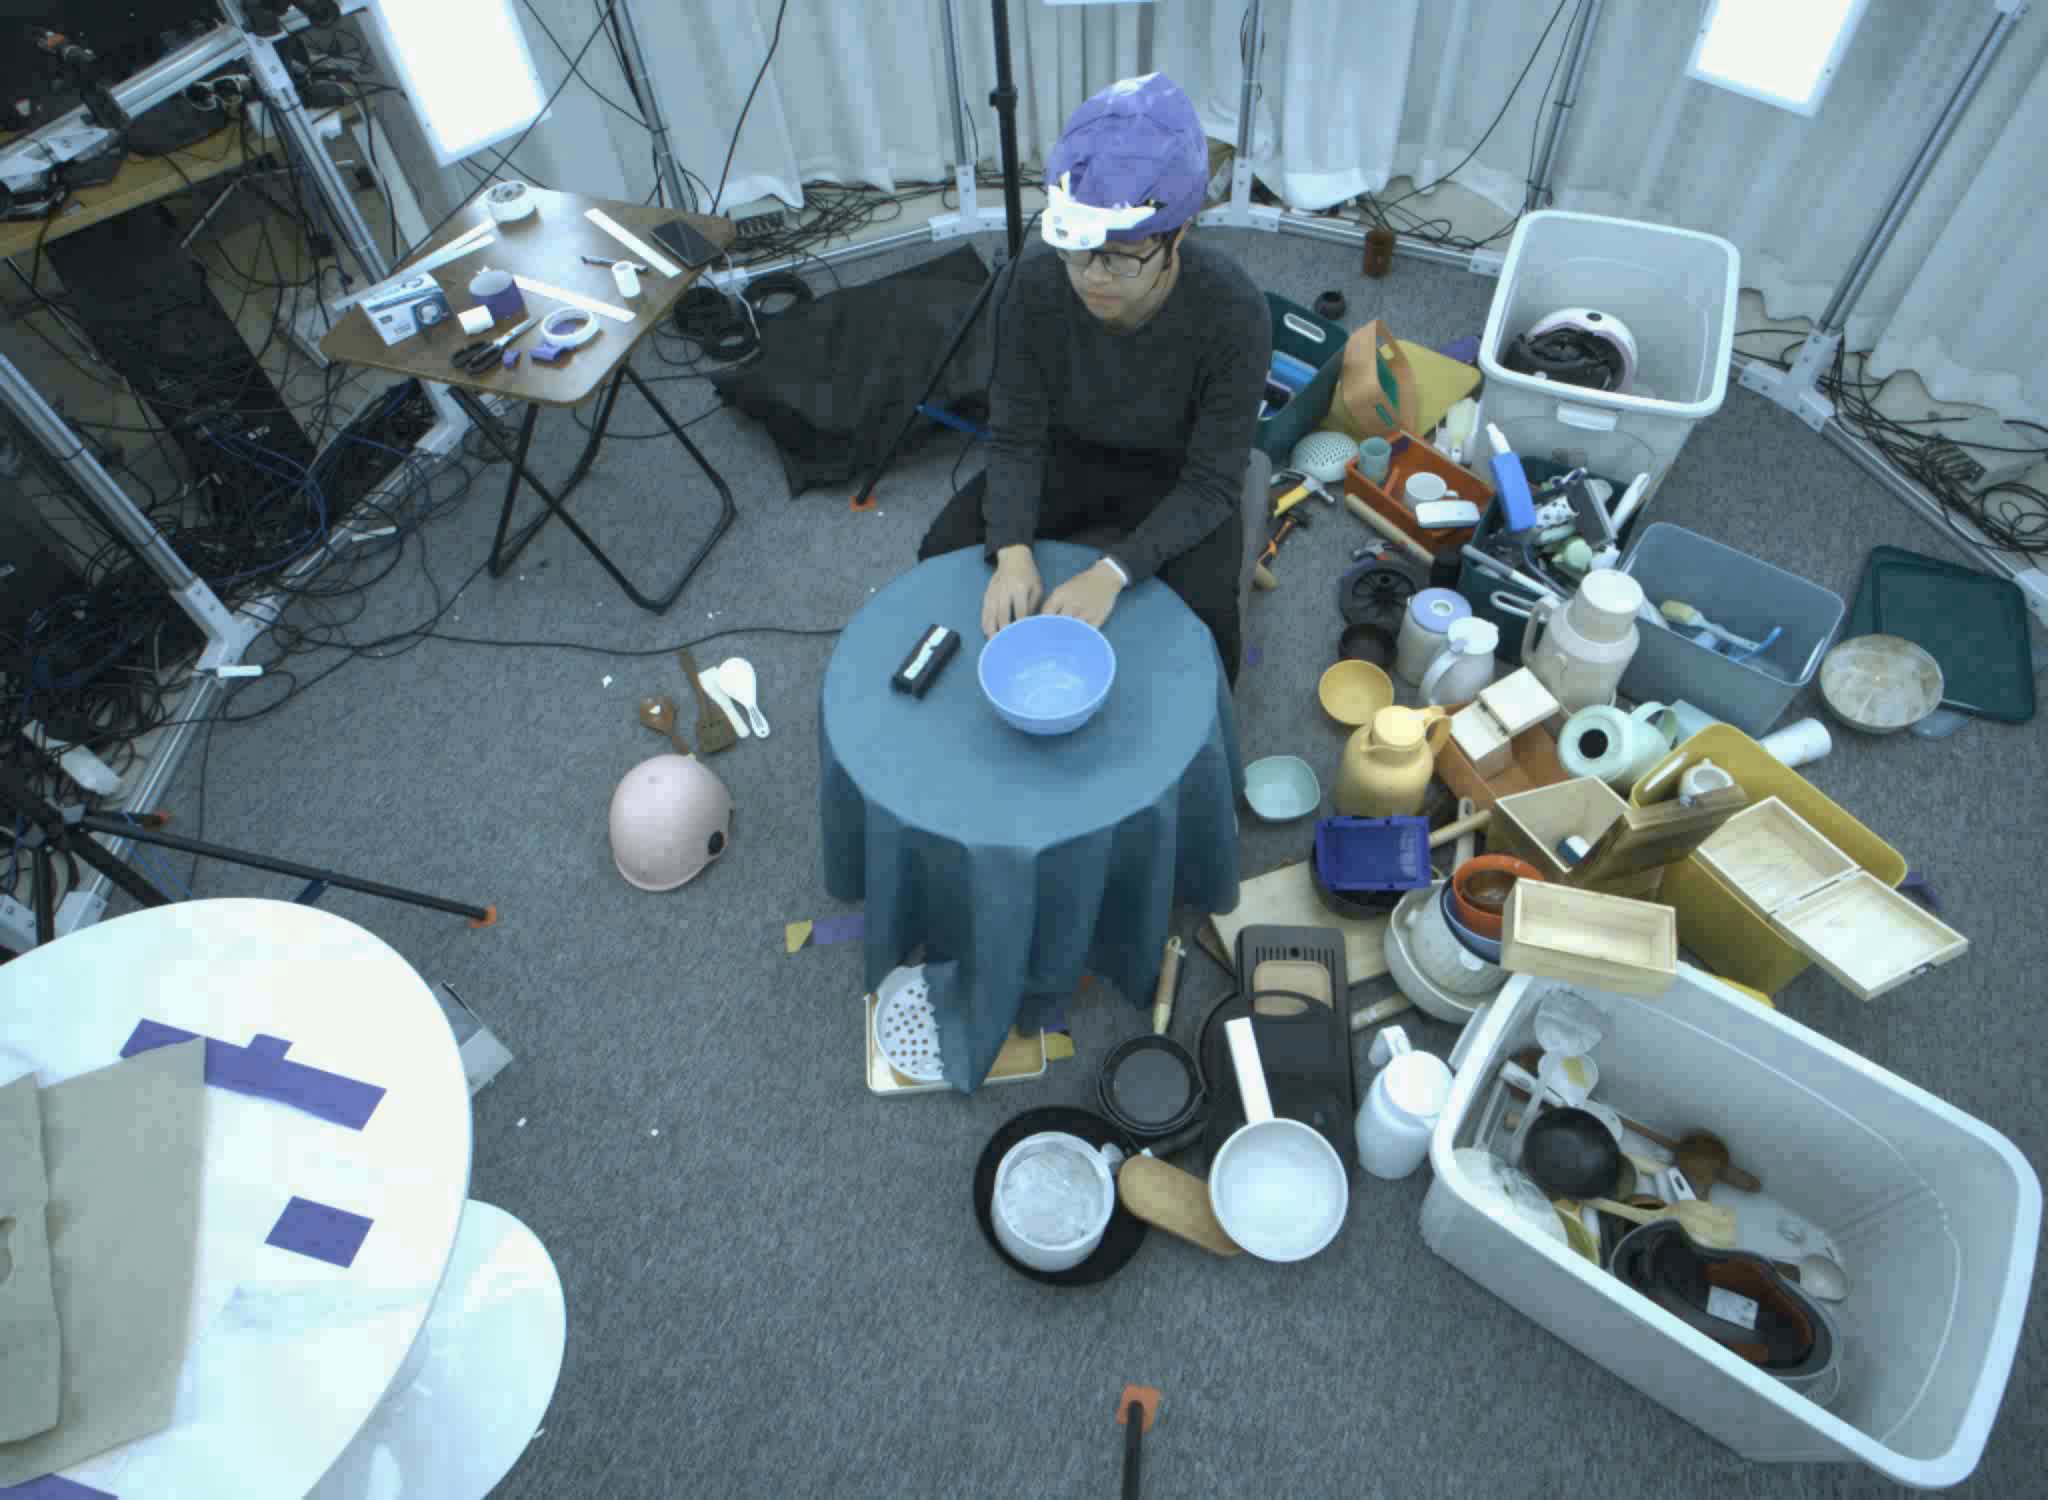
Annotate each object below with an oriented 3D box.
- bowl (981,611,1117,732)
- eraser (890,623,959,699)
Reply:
[{"bbox_3d":[0.042,-0.099,1.798,0.195,0.097,0.194,-4,55,7],"label":"bowl"},{"bbox_3d":[-0.151,-0.137,1.872,0.053,0.031,0.125,22,58,14],"label":"eraser"}]
